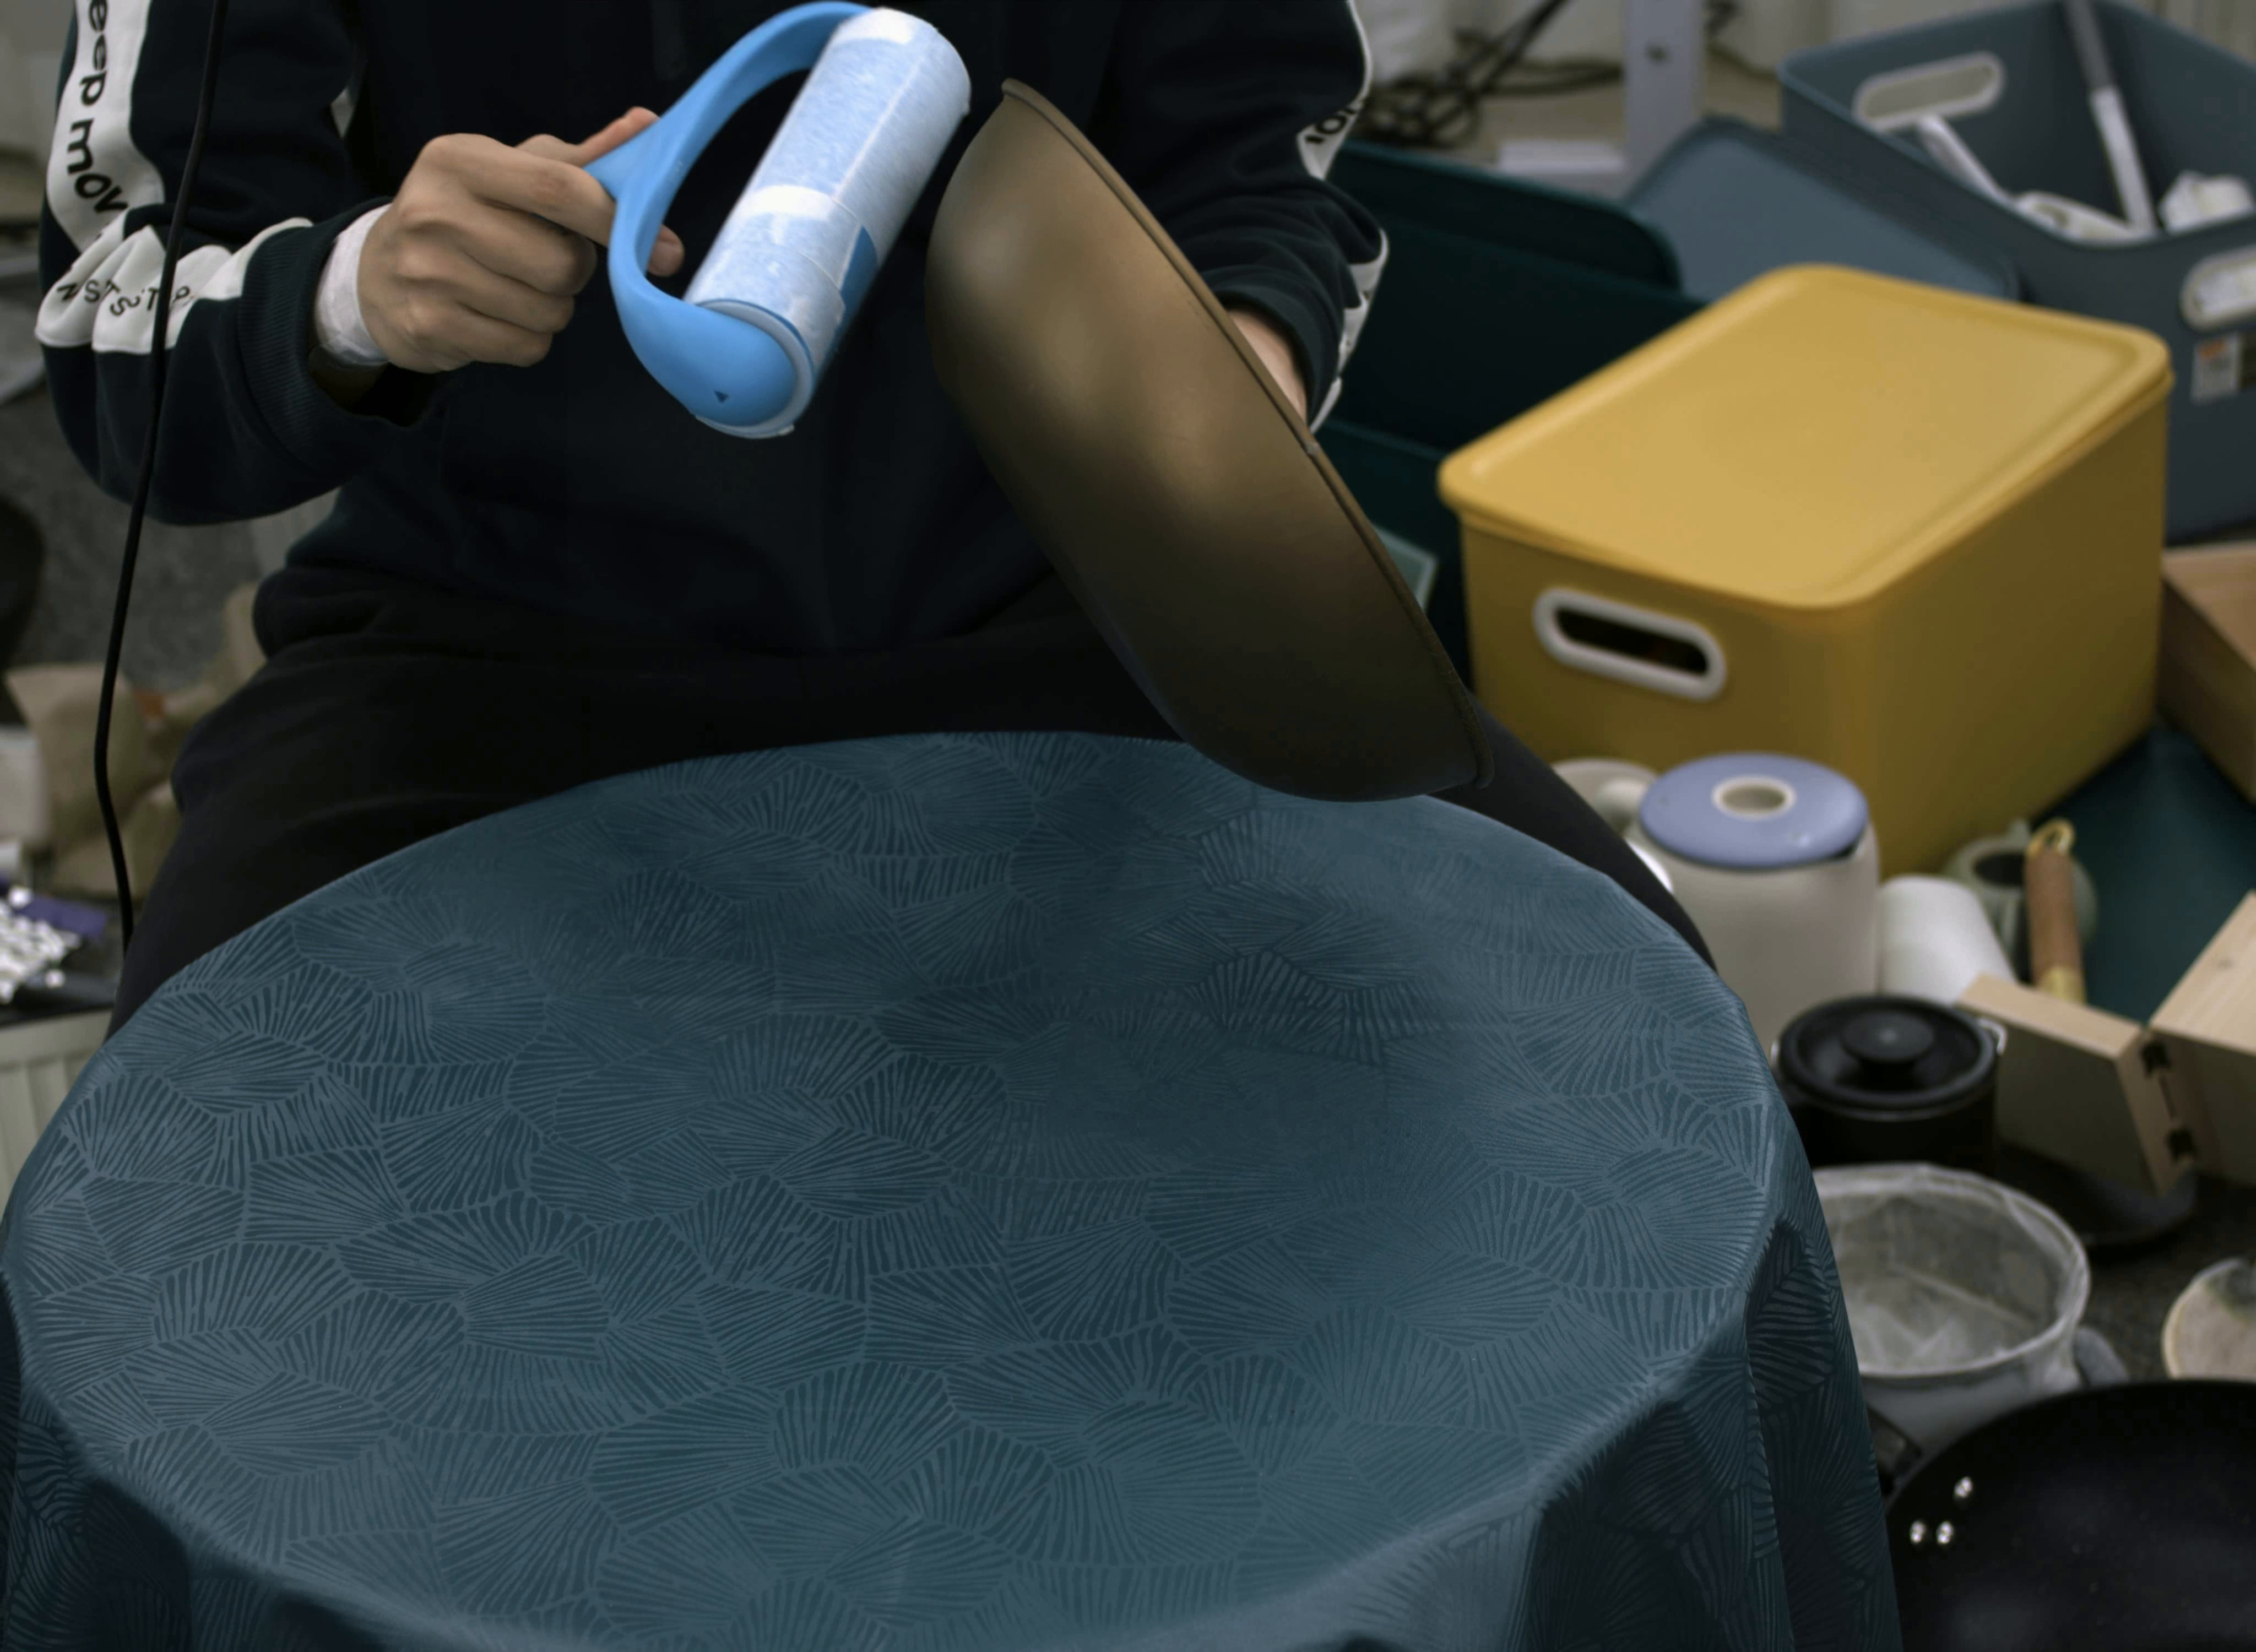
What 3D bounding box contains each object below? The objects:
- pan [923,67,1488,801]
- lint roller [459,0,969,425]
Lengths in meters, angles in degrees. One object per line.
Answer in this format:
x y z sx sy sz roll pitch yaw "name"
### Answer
0.004 -0.117 1.982 0.087 0.288 0.463 -34 4 -3 "pan"
-0.158 -0.204 1.938 0.178 0.067 0.233 -8 35 17 "lint roller"
